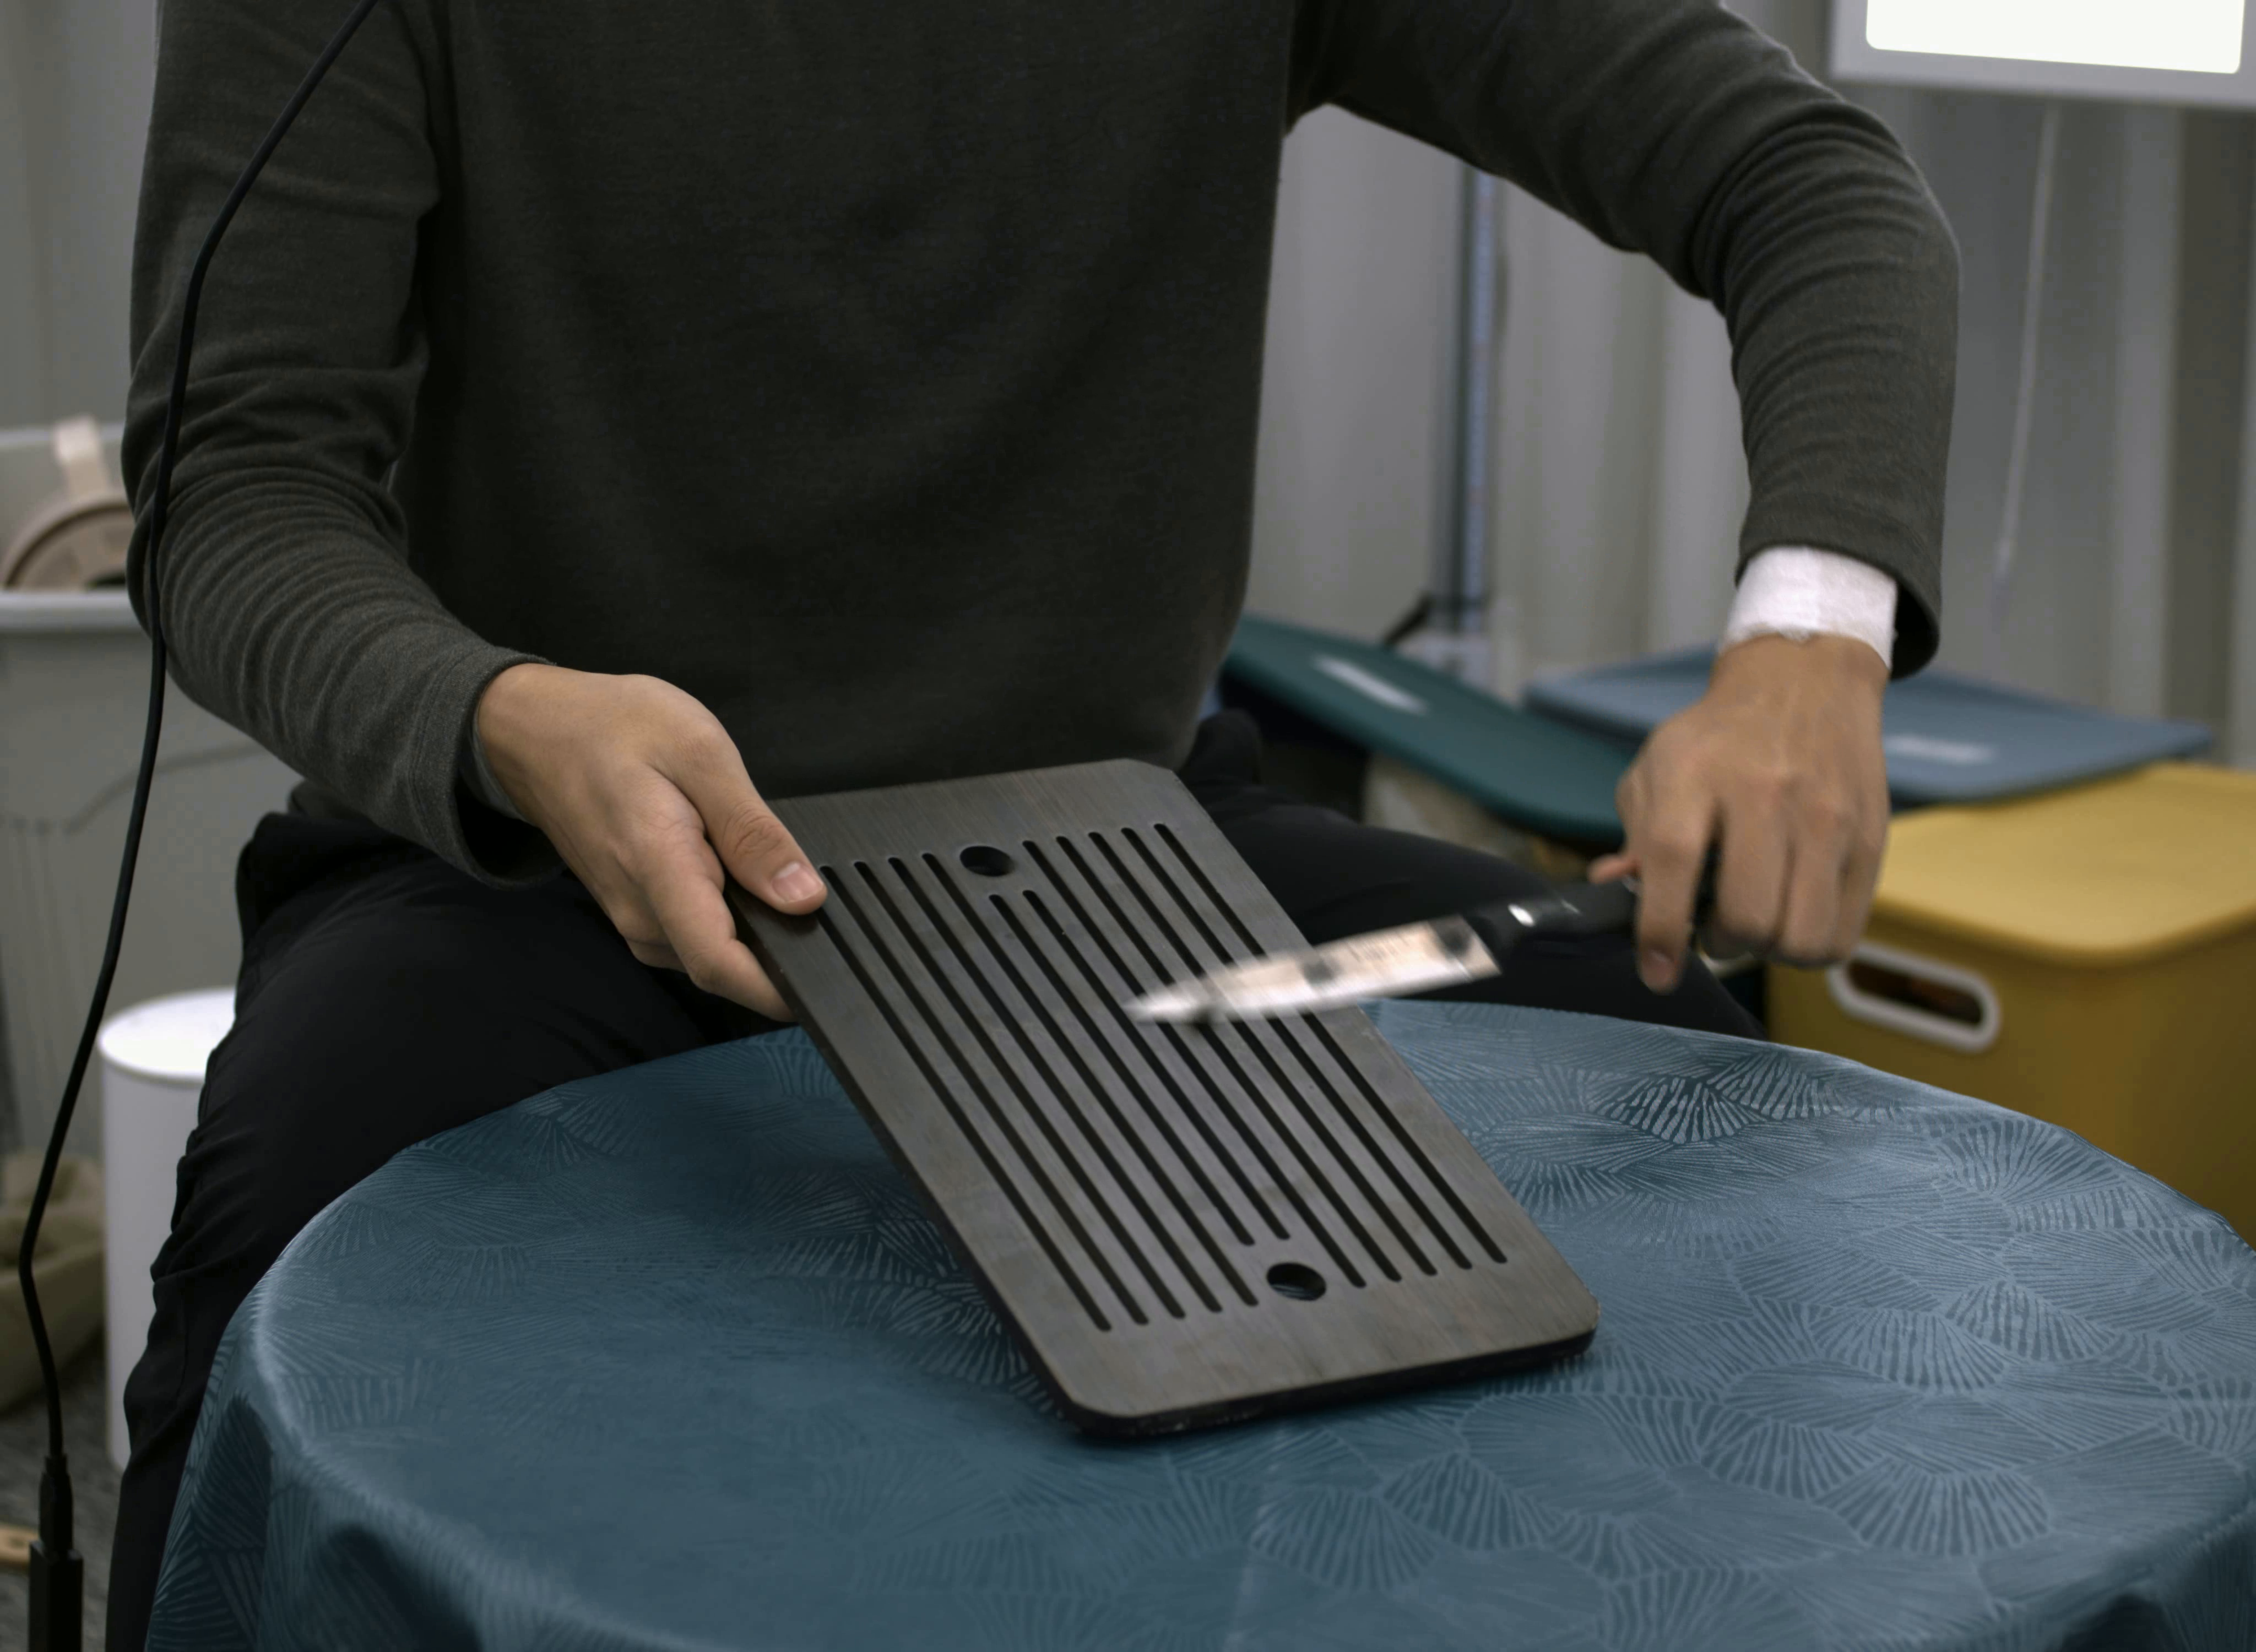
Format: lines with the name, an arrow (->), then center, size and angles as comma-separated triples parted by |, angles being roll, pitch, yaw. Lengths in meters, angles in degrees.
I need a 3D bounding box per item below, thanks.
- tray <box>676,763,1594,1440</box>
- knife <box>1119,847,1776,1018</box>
tray -> -0.004, 0.076, 1.557 | 0.171, 0.019, 0.302 | -7, 37, -27
knife -> 0.100, 0.034, 1.633 | 0.239, 0.016, 0.024 | -11, 51, -28
